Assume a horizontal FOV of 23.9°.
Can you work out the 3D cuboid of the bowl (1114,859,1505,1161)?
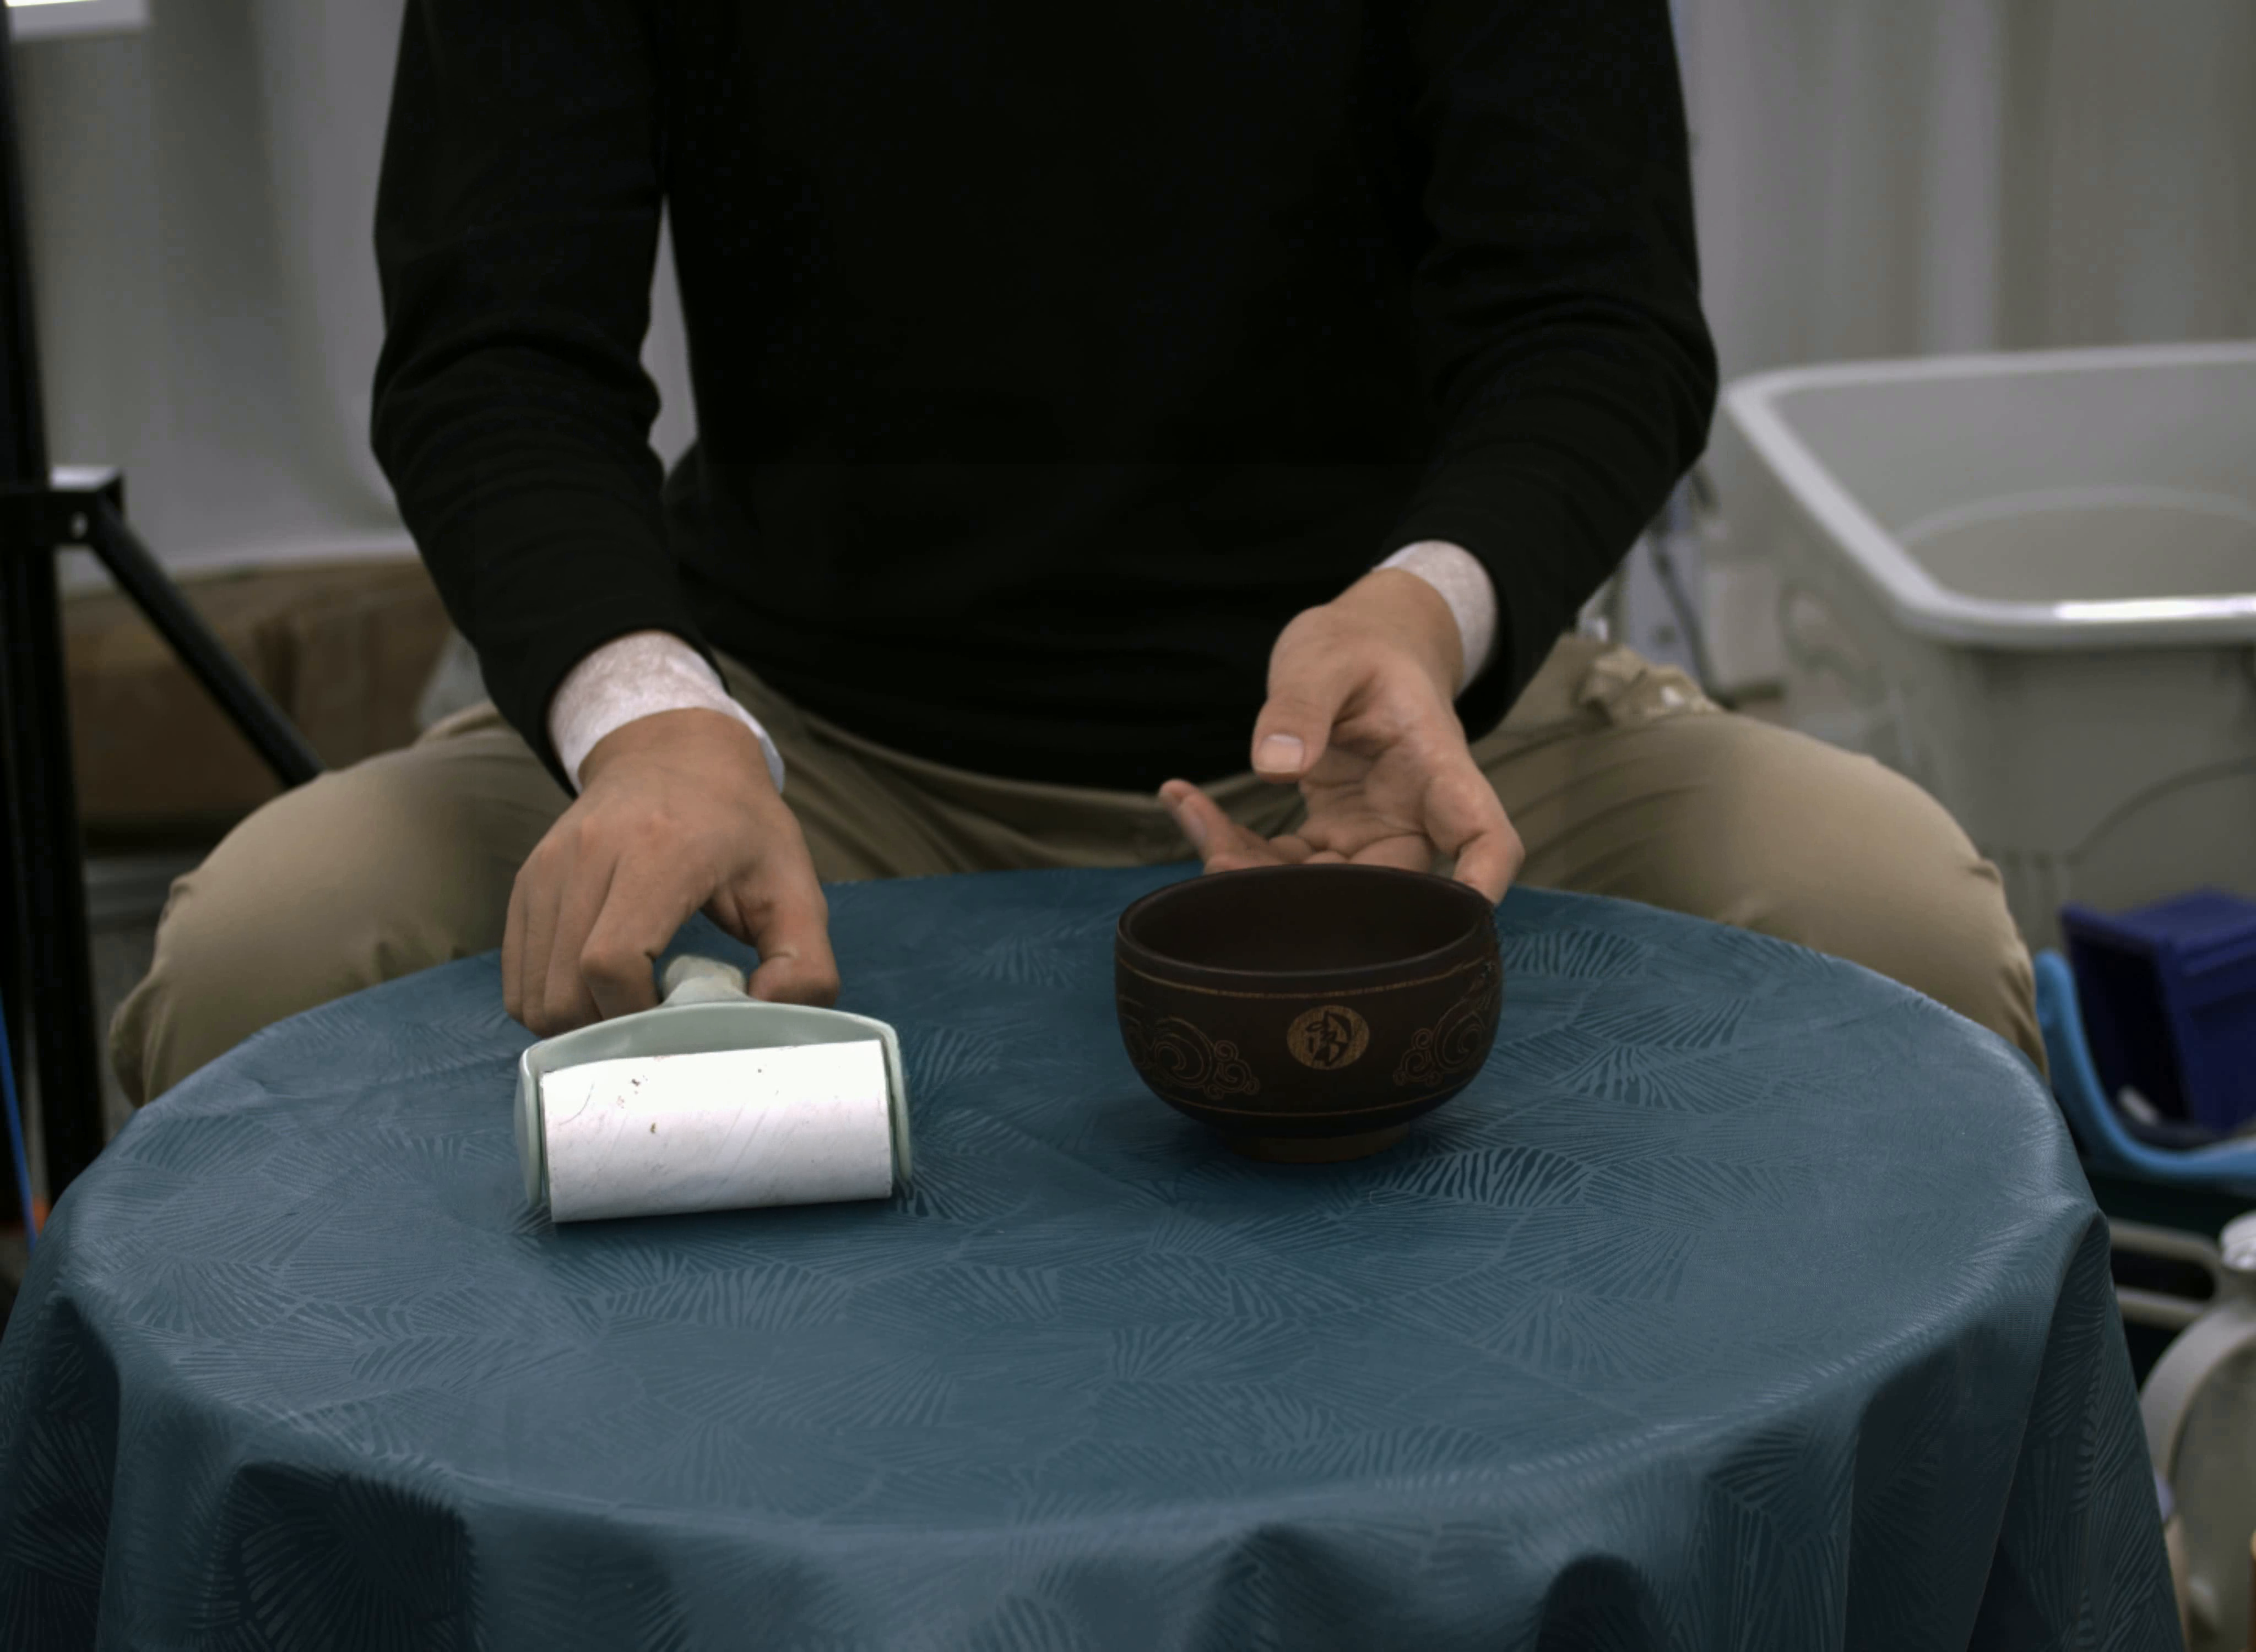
[{"bbox_3d":[0.055,0.059,1.591,0.117,0.070,0.118,-4,15,0],"label":"bowl"}]

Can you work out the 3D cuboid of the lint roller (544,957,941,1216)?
[{"bbox_3d":[-0.120,0.068,1.627,0.115,0.048,0.199,-5,16,-5],"label":"lint roller"}]
